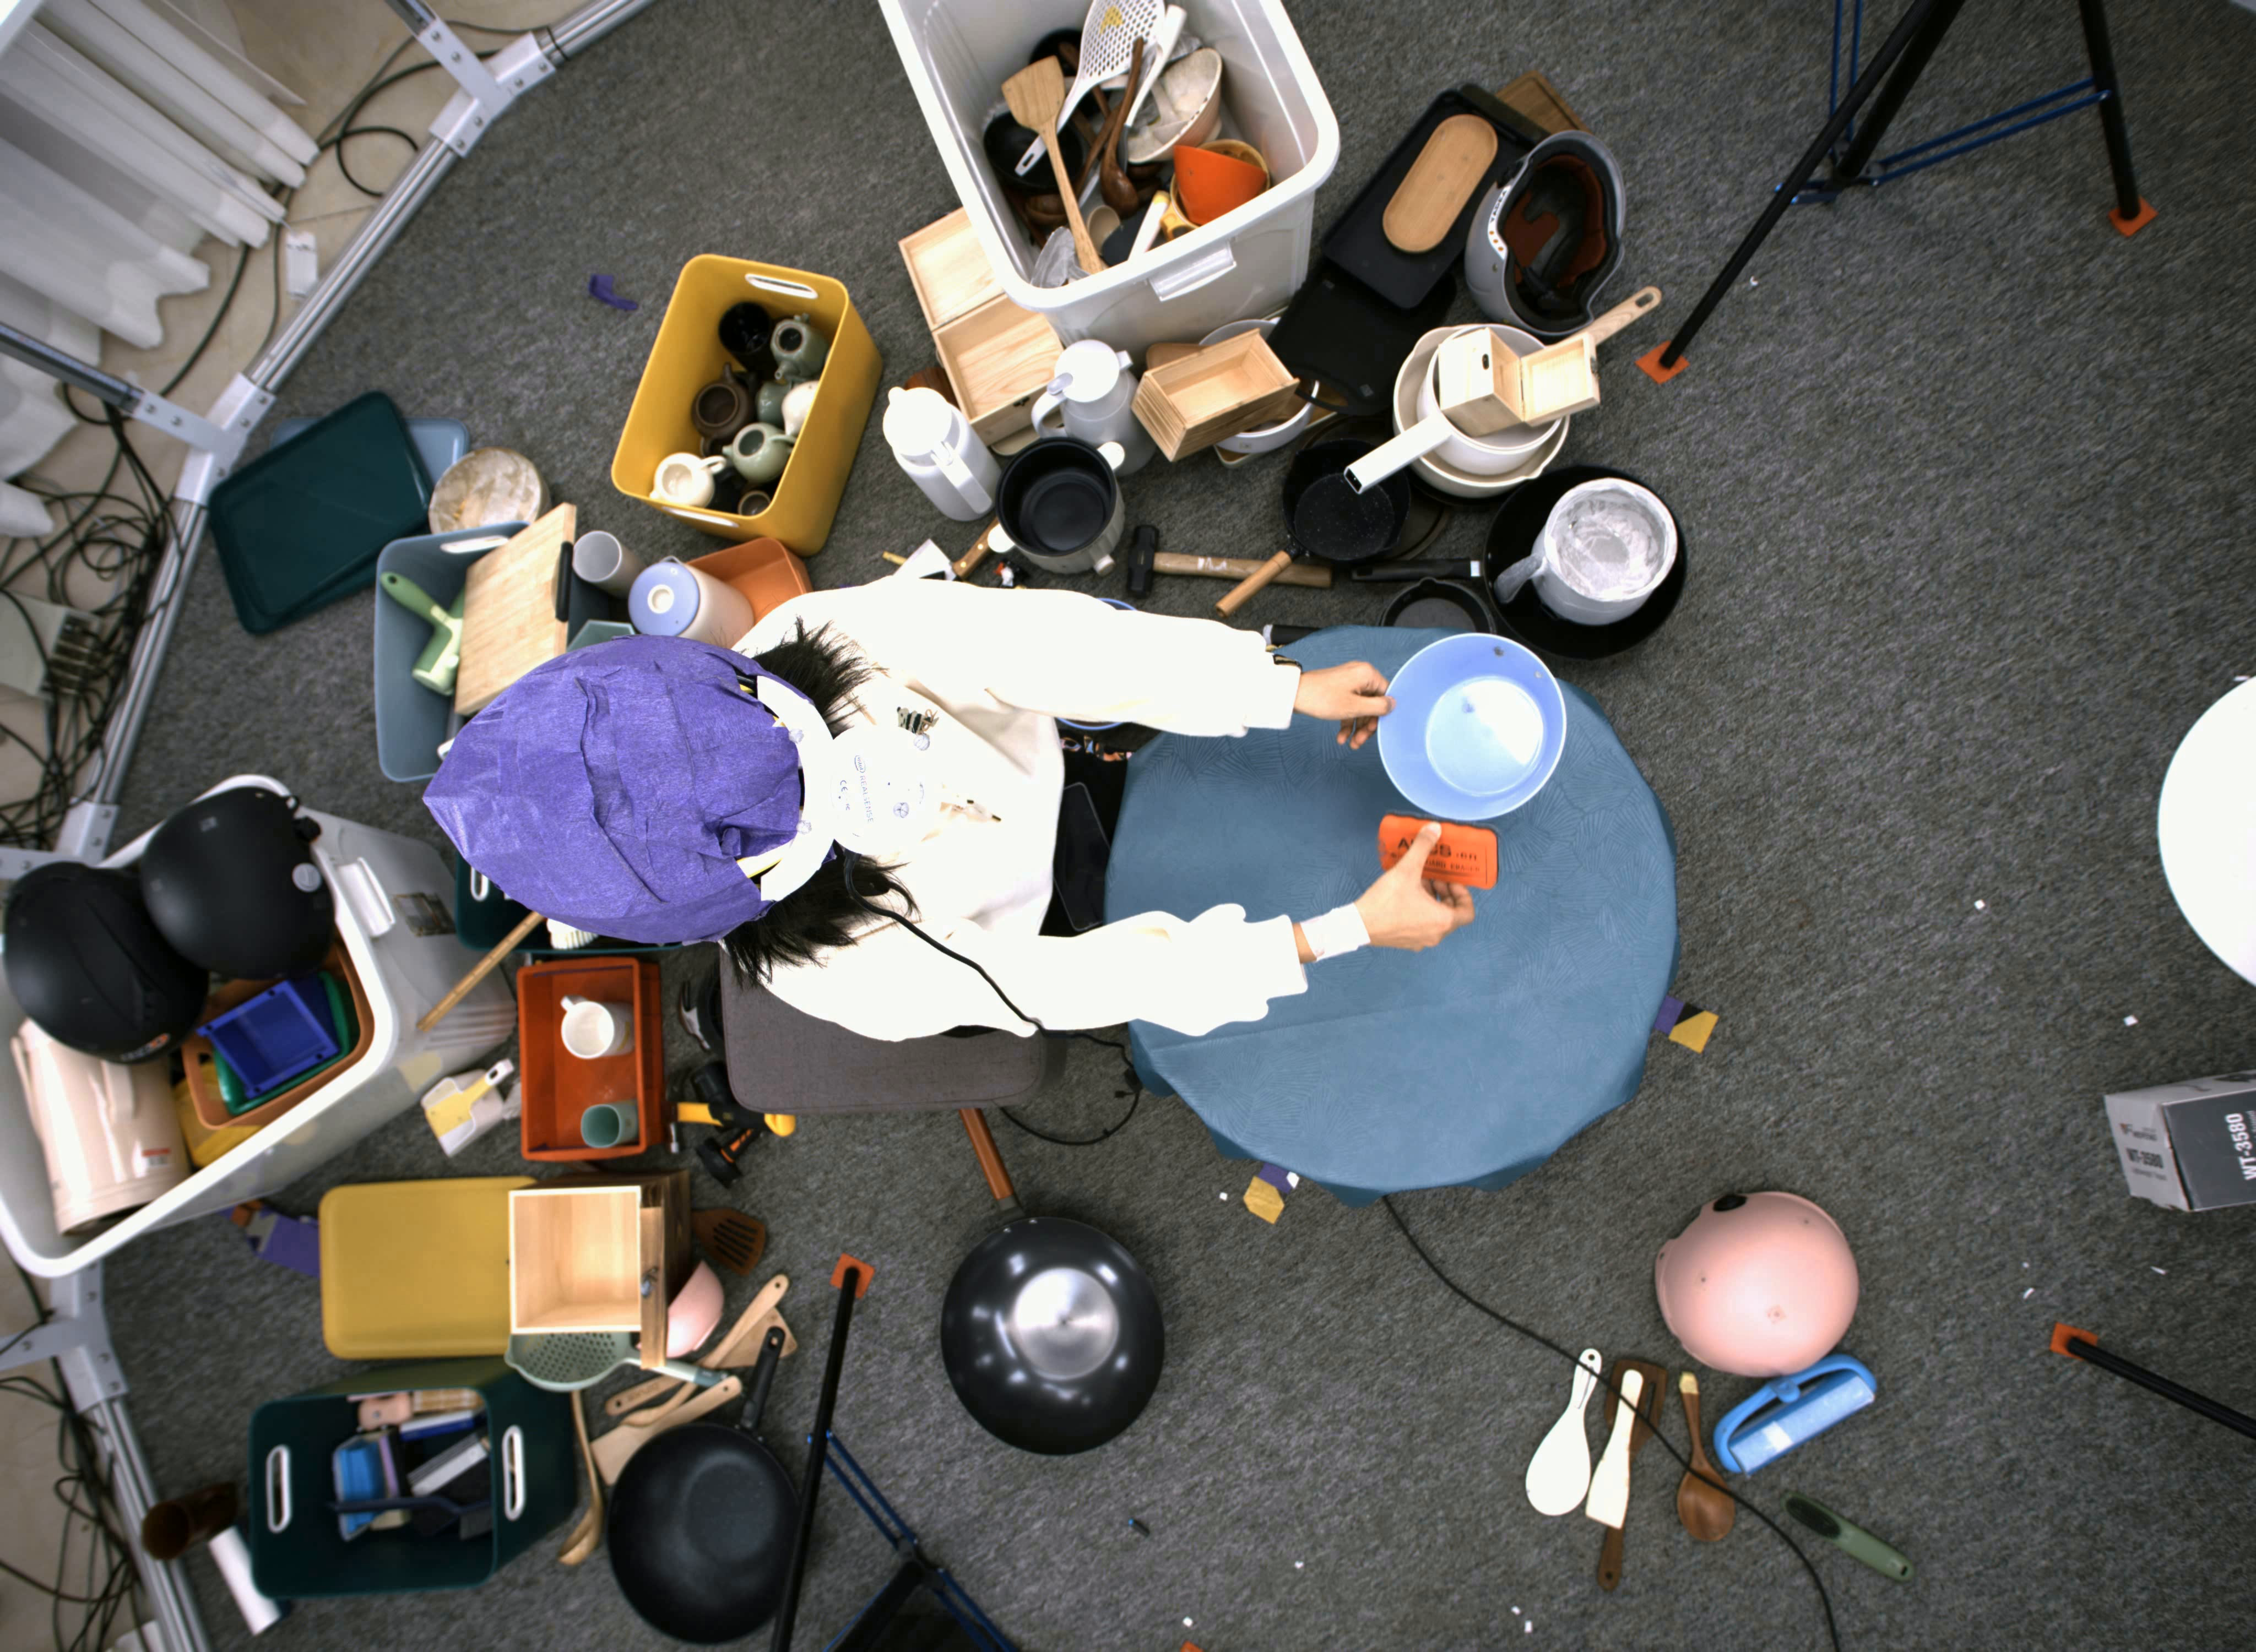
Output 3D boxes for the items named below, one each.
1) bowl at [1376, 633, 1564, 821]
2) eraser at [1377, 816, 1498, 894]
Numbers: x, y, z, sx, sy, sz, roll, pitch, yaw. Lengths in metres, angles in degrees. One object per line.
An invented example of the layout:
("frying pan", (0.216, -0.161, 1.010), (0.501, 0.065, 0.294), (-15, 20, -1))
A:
("bowl", (0.328, -0.091, 1.291), (0.177, 0.070, 0.175), (-2, 87, 29))
("eraser", (0.283, 0.025, 1.260), (0.108, 0.060, 0.022), (10, 45, 26))
